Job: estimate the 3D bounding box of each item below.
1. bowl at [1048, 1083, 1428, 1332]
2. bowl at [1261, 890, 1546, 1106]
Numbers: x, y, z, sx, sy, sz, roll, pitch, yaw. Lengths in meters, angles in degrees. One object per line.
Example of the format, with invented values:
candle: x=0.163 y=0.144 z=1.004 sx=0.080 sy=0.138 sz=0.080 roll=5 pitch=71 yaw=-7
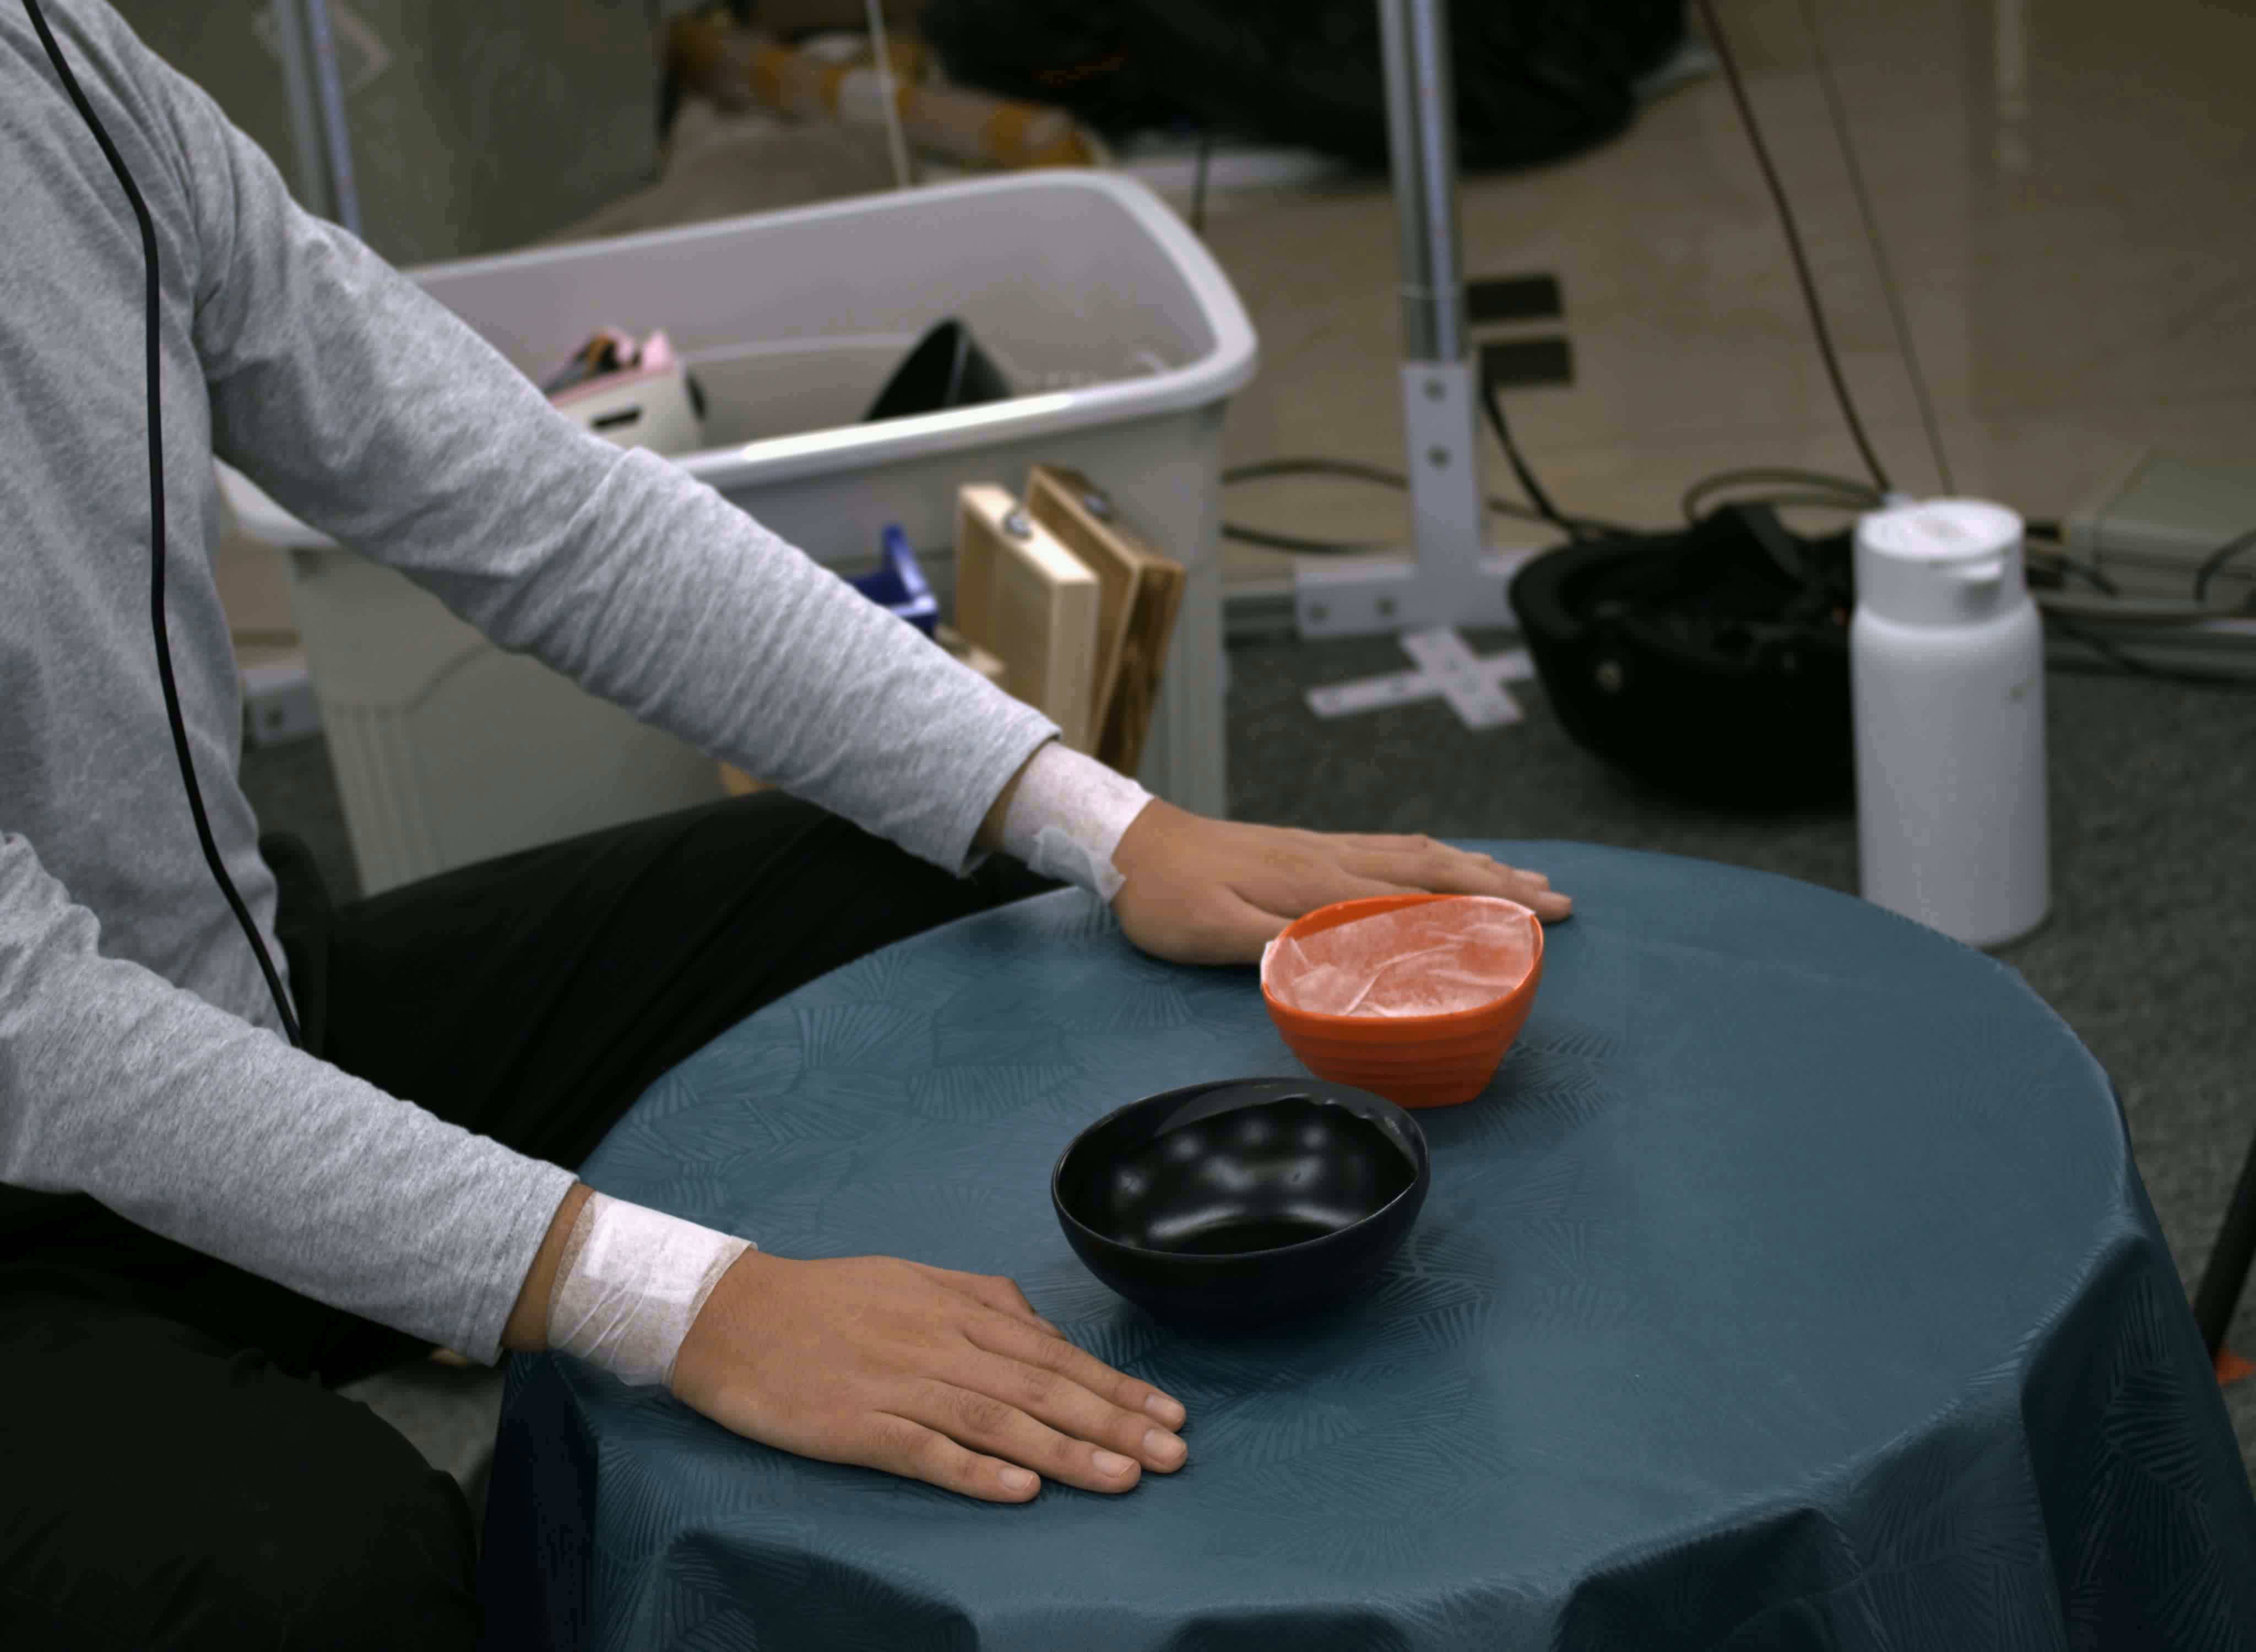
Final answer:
bowl: x=0.043 y=0.146 z=2.070 sx=0.140 sy=0.050 sz=0.138 roll=-8 pitch=24 yaw=3
bowl: x=0.108 y=0.071 z=2.207 sx=0.119 sy=0.052 sz=0.117 roll=-4 pitch=27 yaw=2
